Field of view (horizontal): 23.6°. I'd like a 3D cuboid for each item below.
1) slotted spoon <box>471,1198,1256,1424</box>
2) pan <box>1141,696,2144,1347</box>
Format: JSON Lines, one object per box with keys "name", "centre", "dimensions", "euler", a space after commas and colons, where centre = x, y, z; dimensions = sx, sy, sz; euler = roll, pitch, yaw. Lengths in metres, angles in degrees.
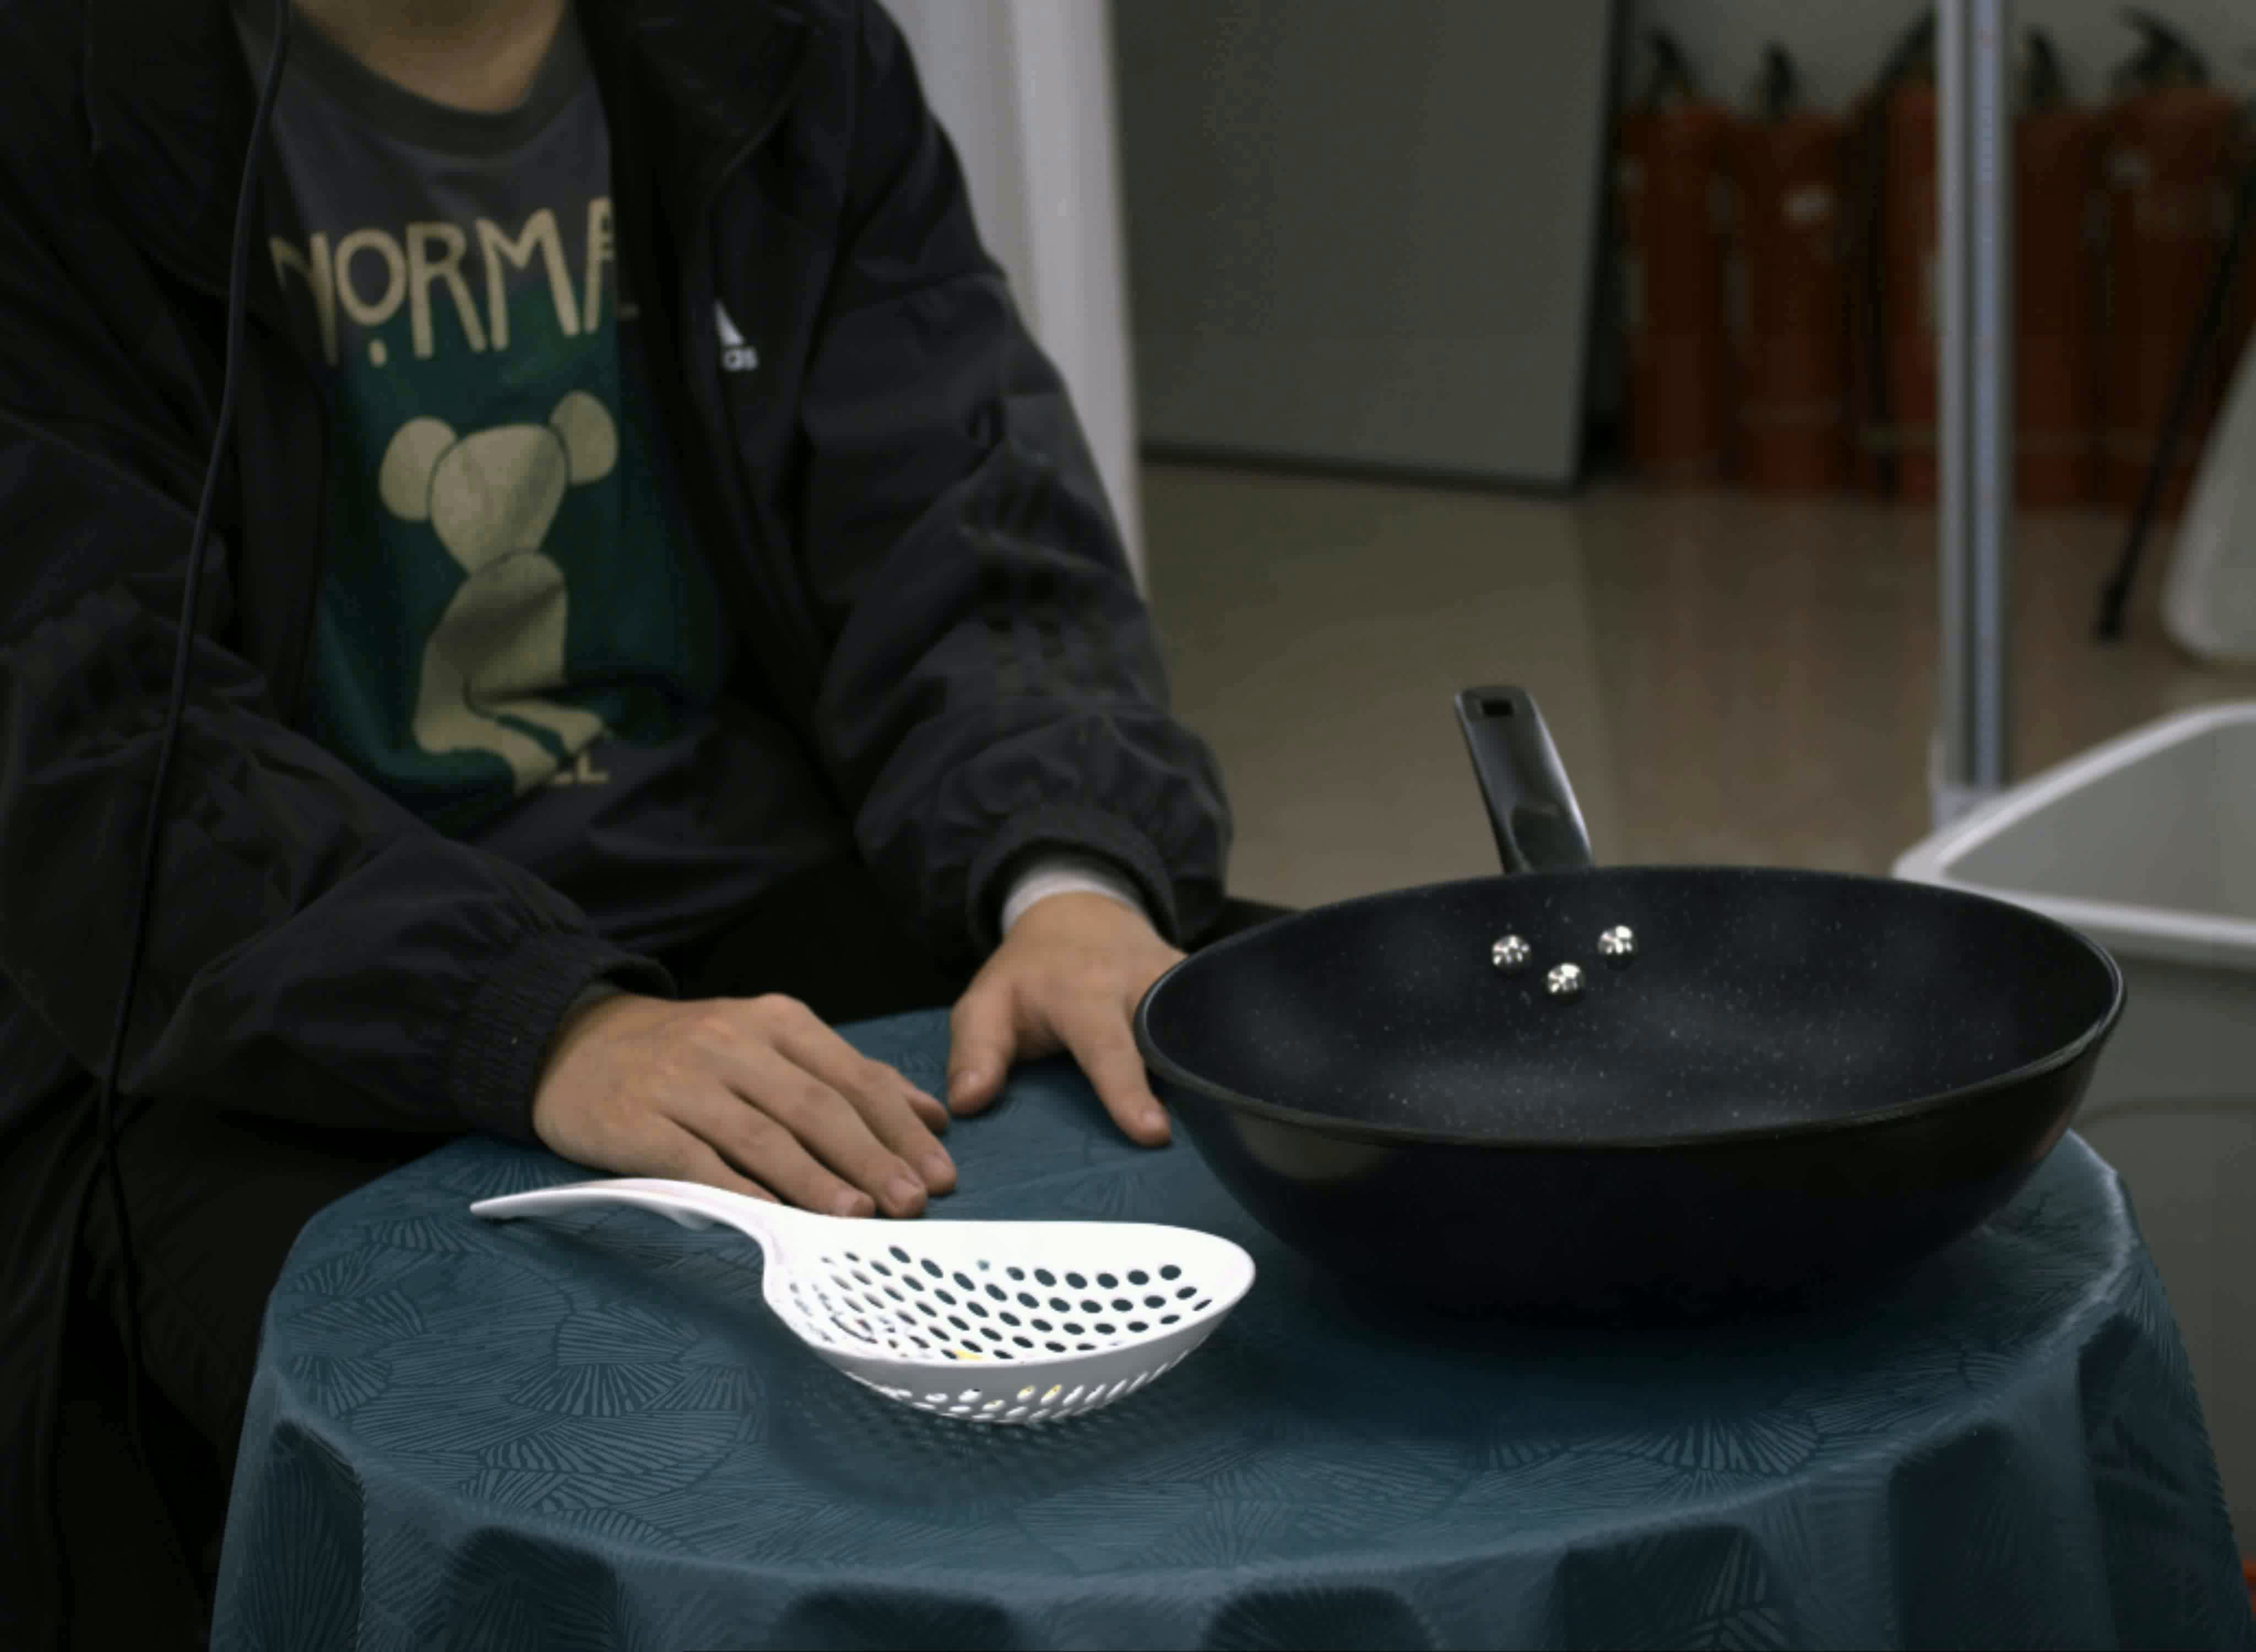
{"name": "slotted spoon", "centre": [-0.099, 0.136, 1.657], "dimensions": [0.134, 0.051, 0.351], "euler": [-17, 18, -36]}
{"name": "pan", "centre": [0.152, 0.063, 1.744], "dimensions": [0.306, 0.113, 0.478], "euler": [-3, 14, -3]}
